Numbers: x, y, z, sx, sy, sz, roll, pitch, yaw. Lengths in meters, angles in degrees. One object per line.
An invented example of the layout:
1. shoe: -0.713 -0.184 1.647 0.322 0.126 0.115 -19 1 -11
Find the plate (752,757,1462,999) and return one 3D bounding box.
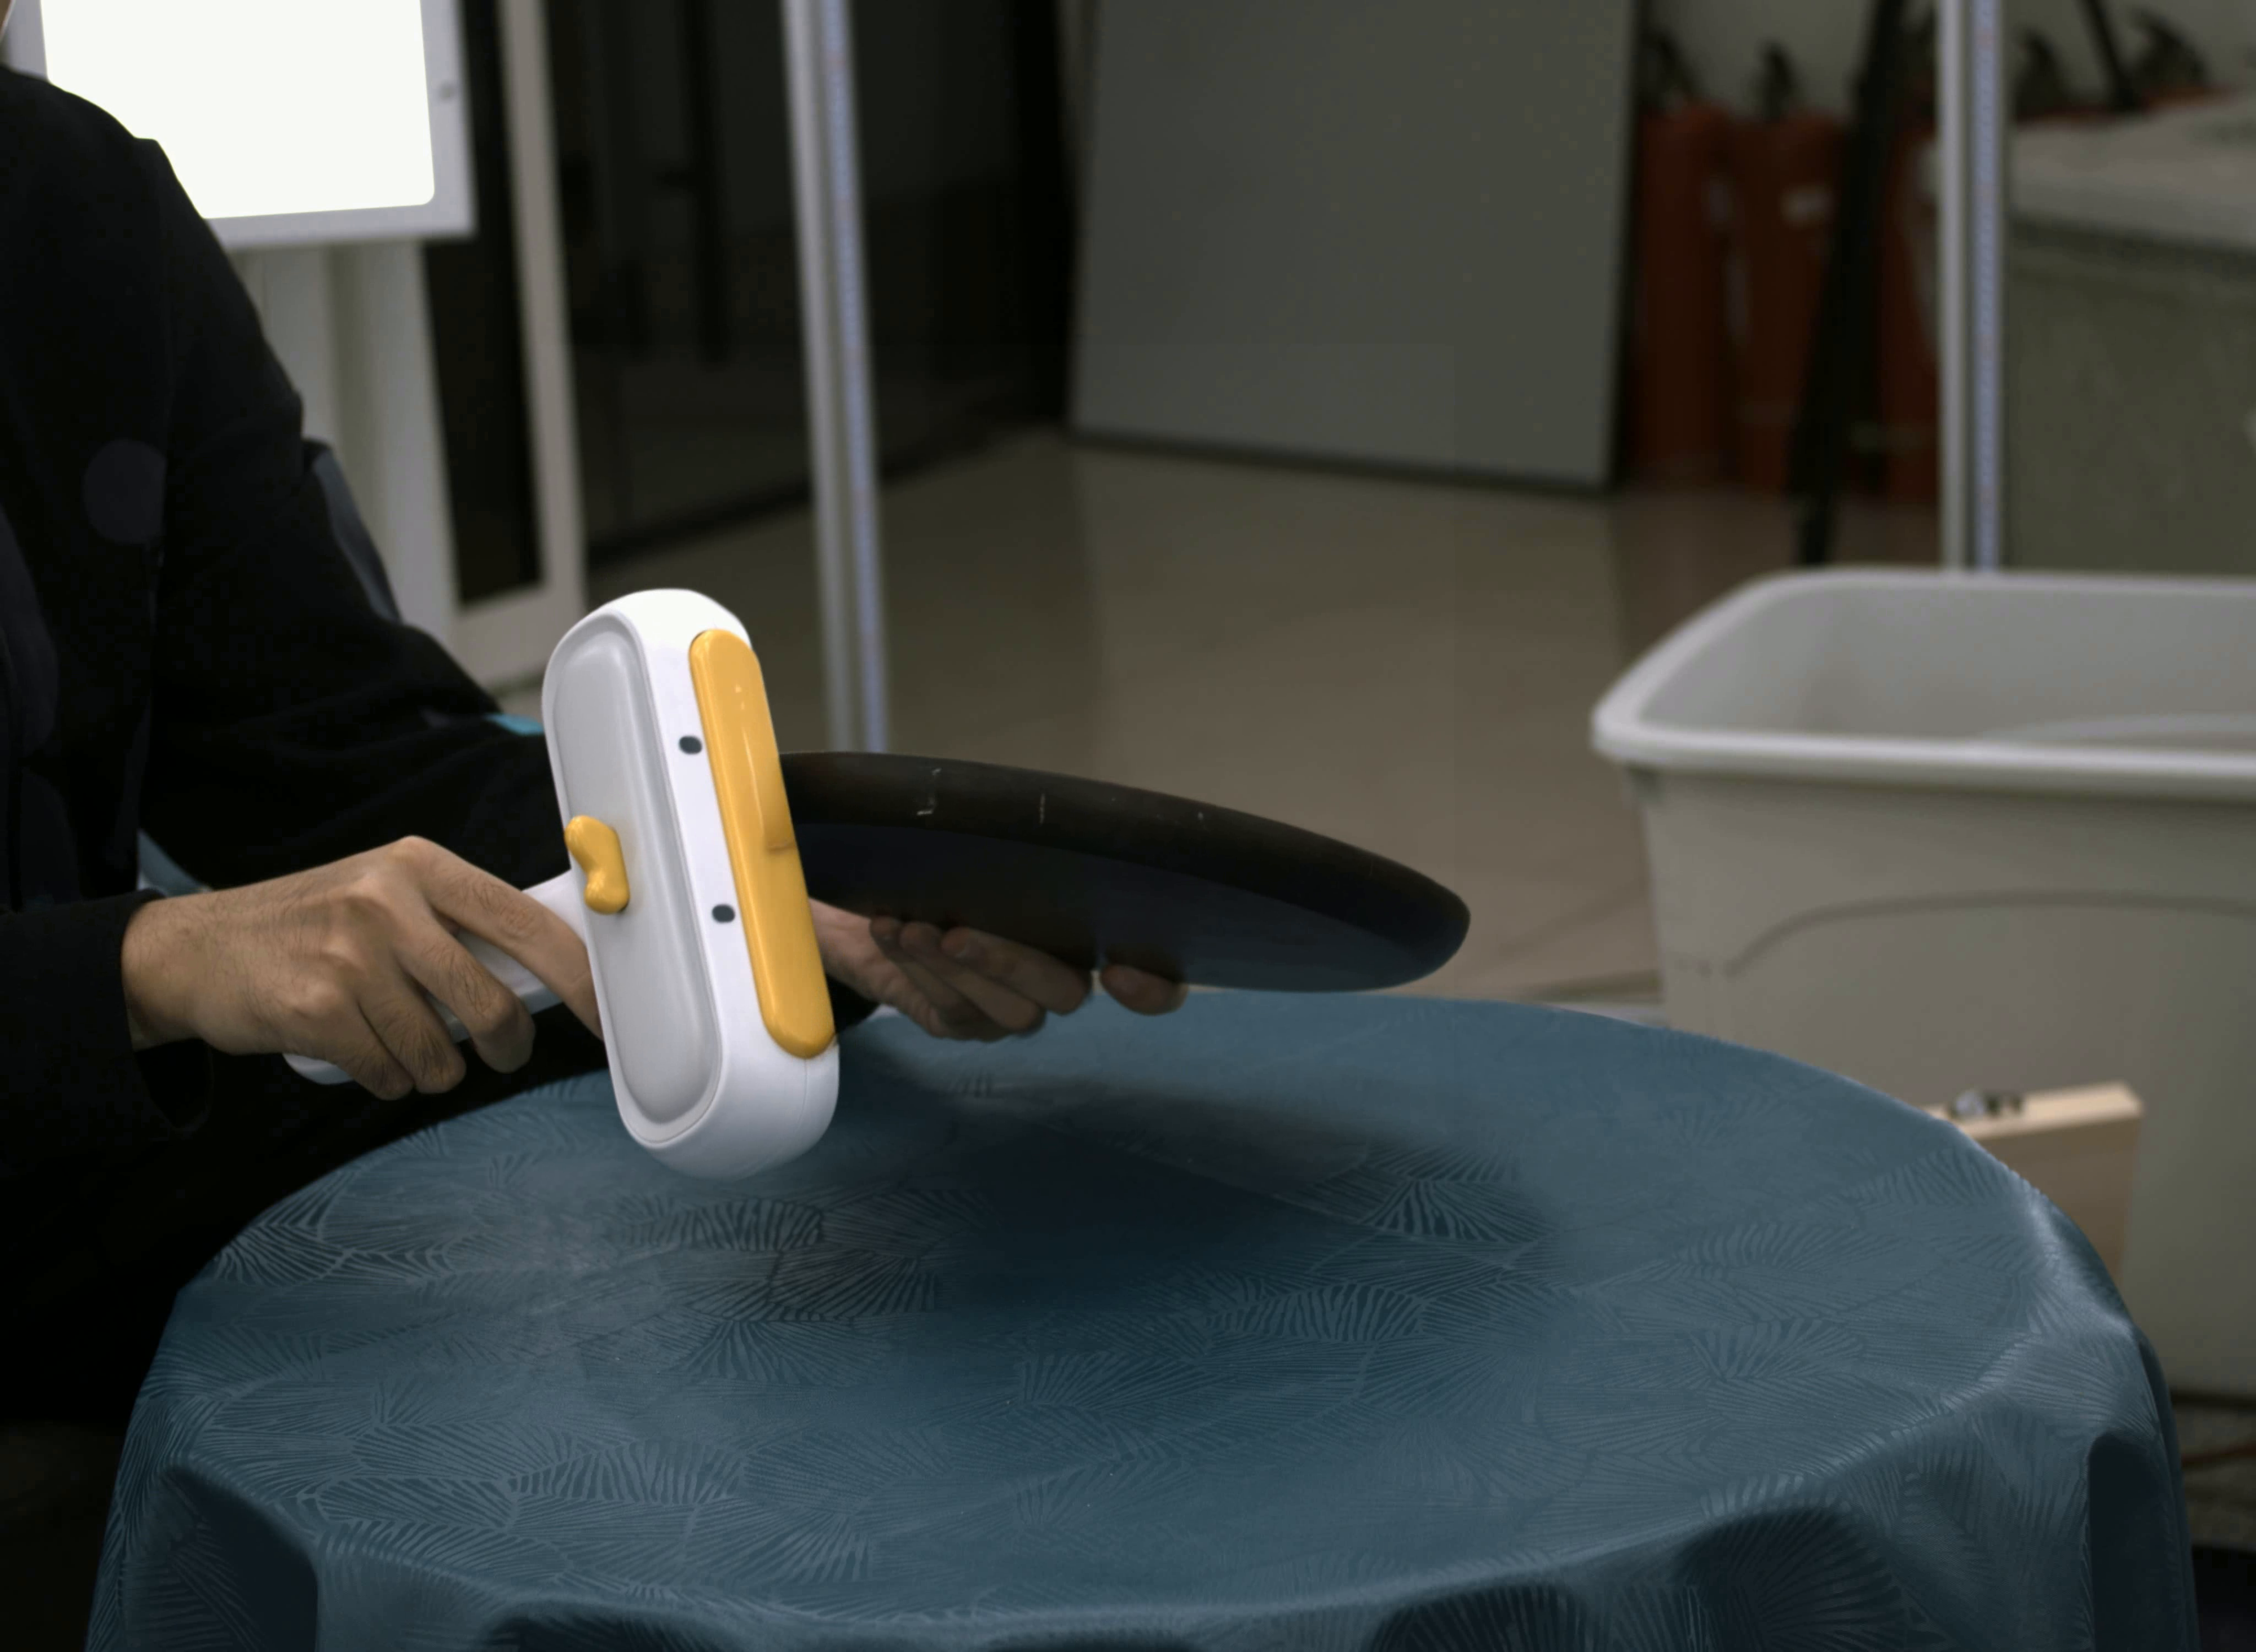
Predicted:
1. plate: -0.016 0.018 1.754 0.252 0.029 0.255 9 -11 1

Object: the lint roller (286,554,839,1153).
1. lint roller: -0.184 0.035 1.702 0.194 0.195 0.072 -33 -25 32
